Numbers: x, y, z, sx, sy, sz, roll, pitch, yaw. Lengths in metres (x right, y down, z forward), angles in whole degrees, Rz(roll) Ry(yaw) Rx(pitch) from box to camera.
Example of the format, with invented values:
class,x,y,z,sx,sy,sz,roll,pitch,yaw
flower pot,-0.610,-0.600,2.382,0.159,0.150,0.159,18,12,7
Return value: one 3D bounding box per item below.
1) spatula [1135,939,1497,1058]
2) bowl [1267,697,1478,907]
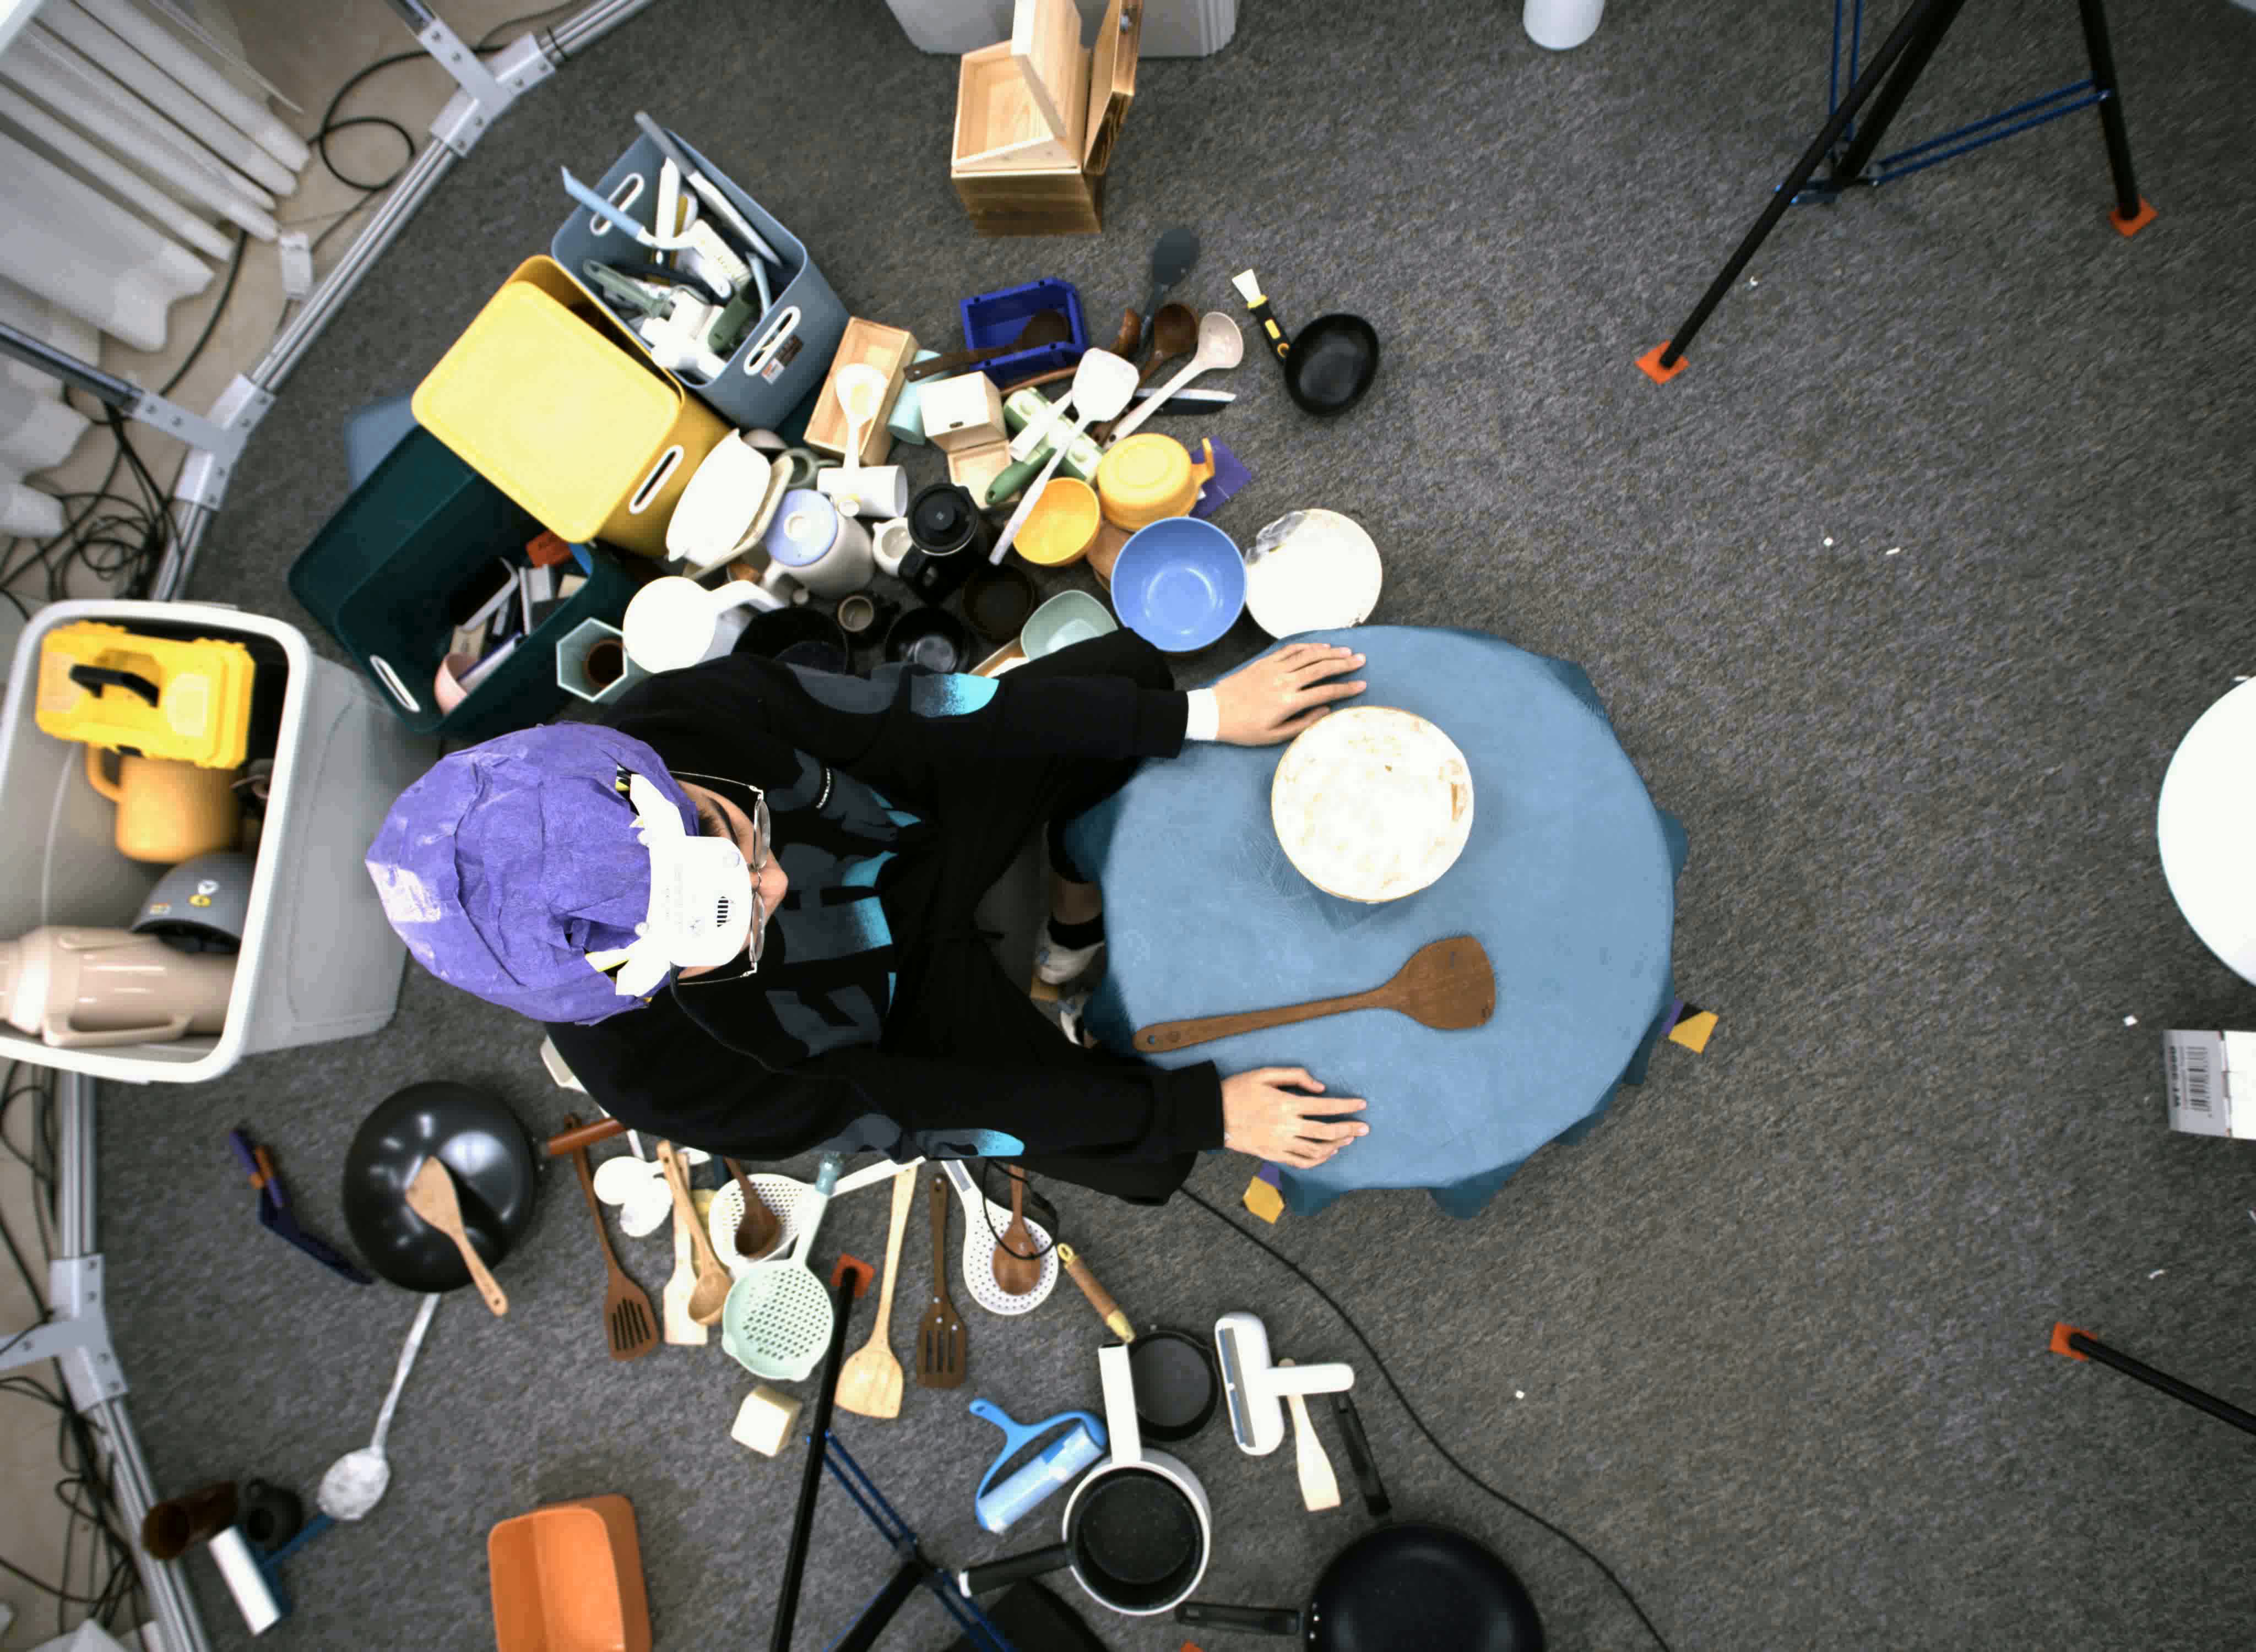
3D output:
class,x,y,z,sx,sy,sz,roll,pitch,yaw
spatula,0.194,0.197,1.463,0.388,0.016,0.095,-12,84,10
bowl,0.252,-0.020,1.427,0.215,0.094,0.214,-1,87,11
